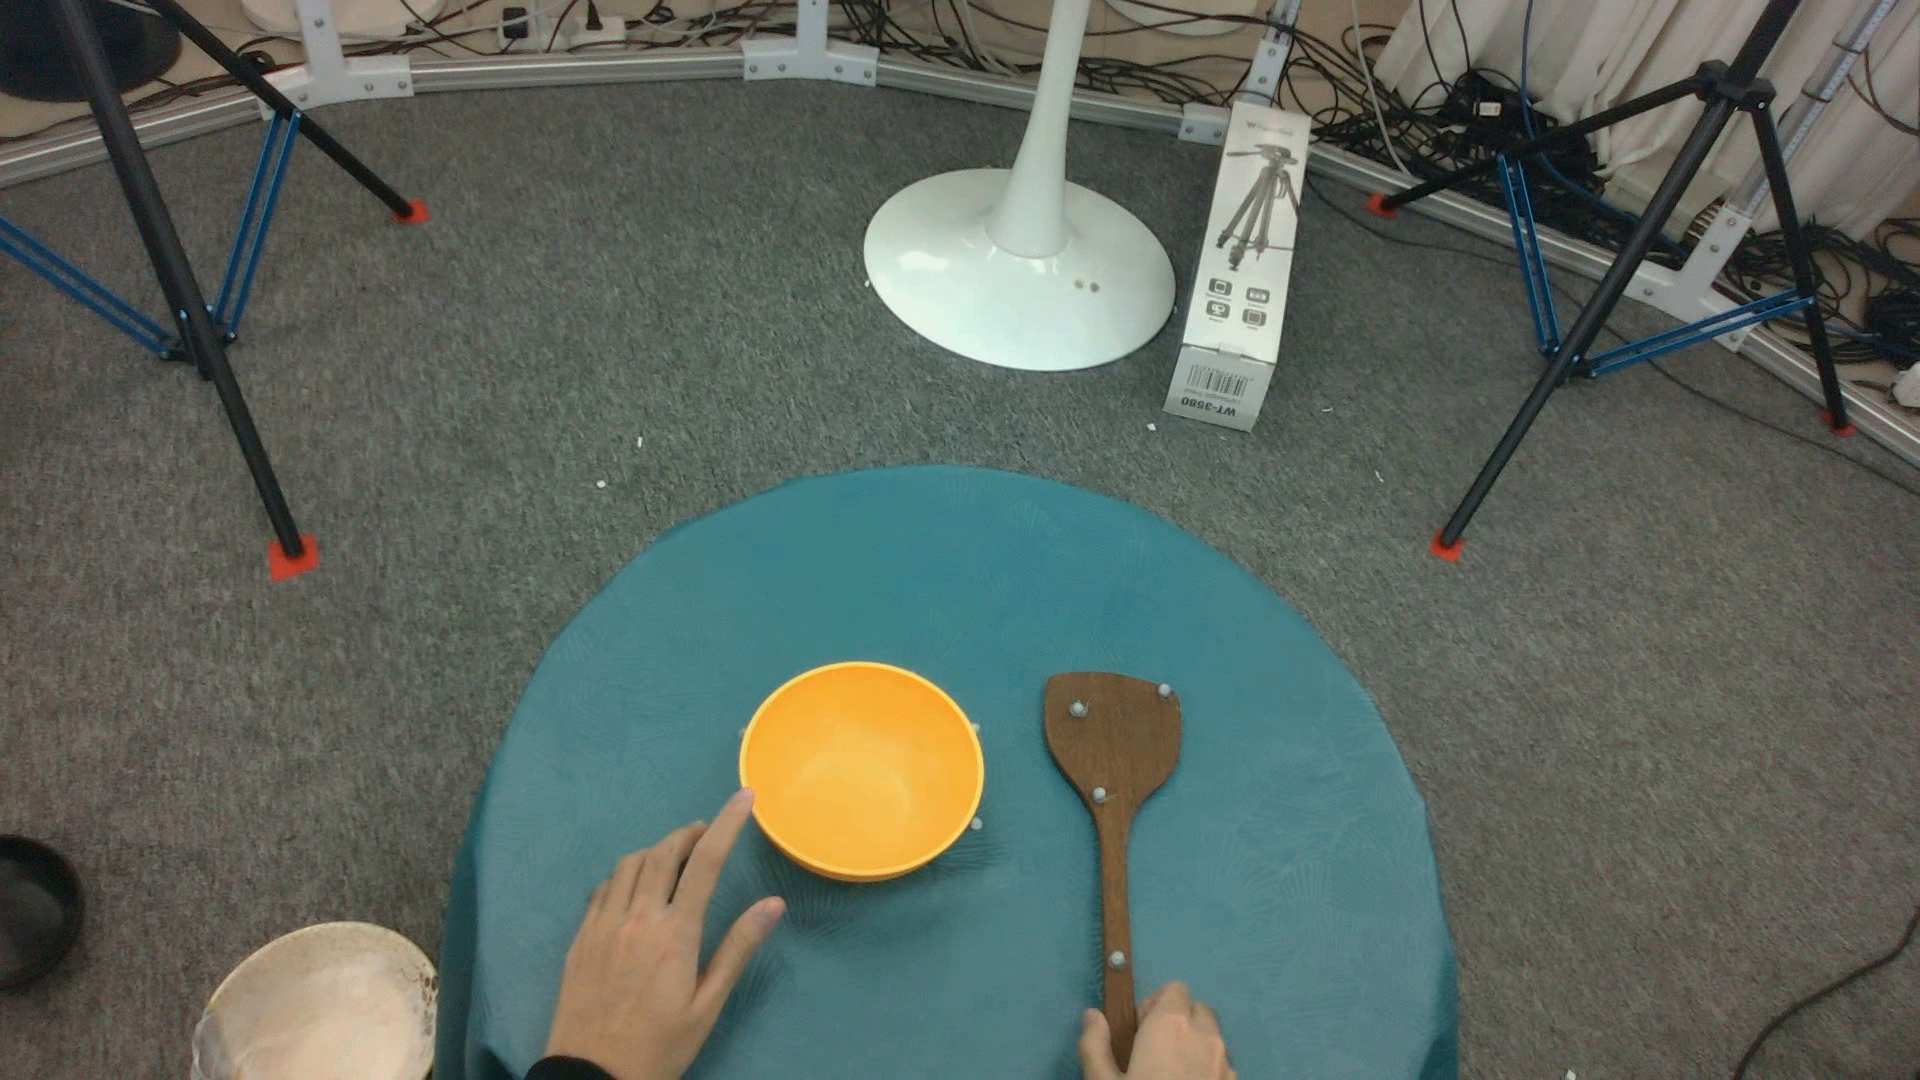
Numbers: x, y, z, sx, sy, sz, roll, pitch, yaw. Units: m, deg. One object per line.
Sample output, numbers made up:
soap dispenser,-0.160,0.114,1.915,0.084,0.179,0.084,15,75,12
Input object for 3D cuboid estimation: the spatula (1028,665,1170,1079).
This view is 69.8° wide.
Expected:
spatula,0.083,0.225,0.810,0.096,0.015,0.388,8,45,-3

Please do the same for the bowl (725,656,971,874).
bowl,-0.068,0.144,0.832,0.145,0.060,0.146,4,49,-4
